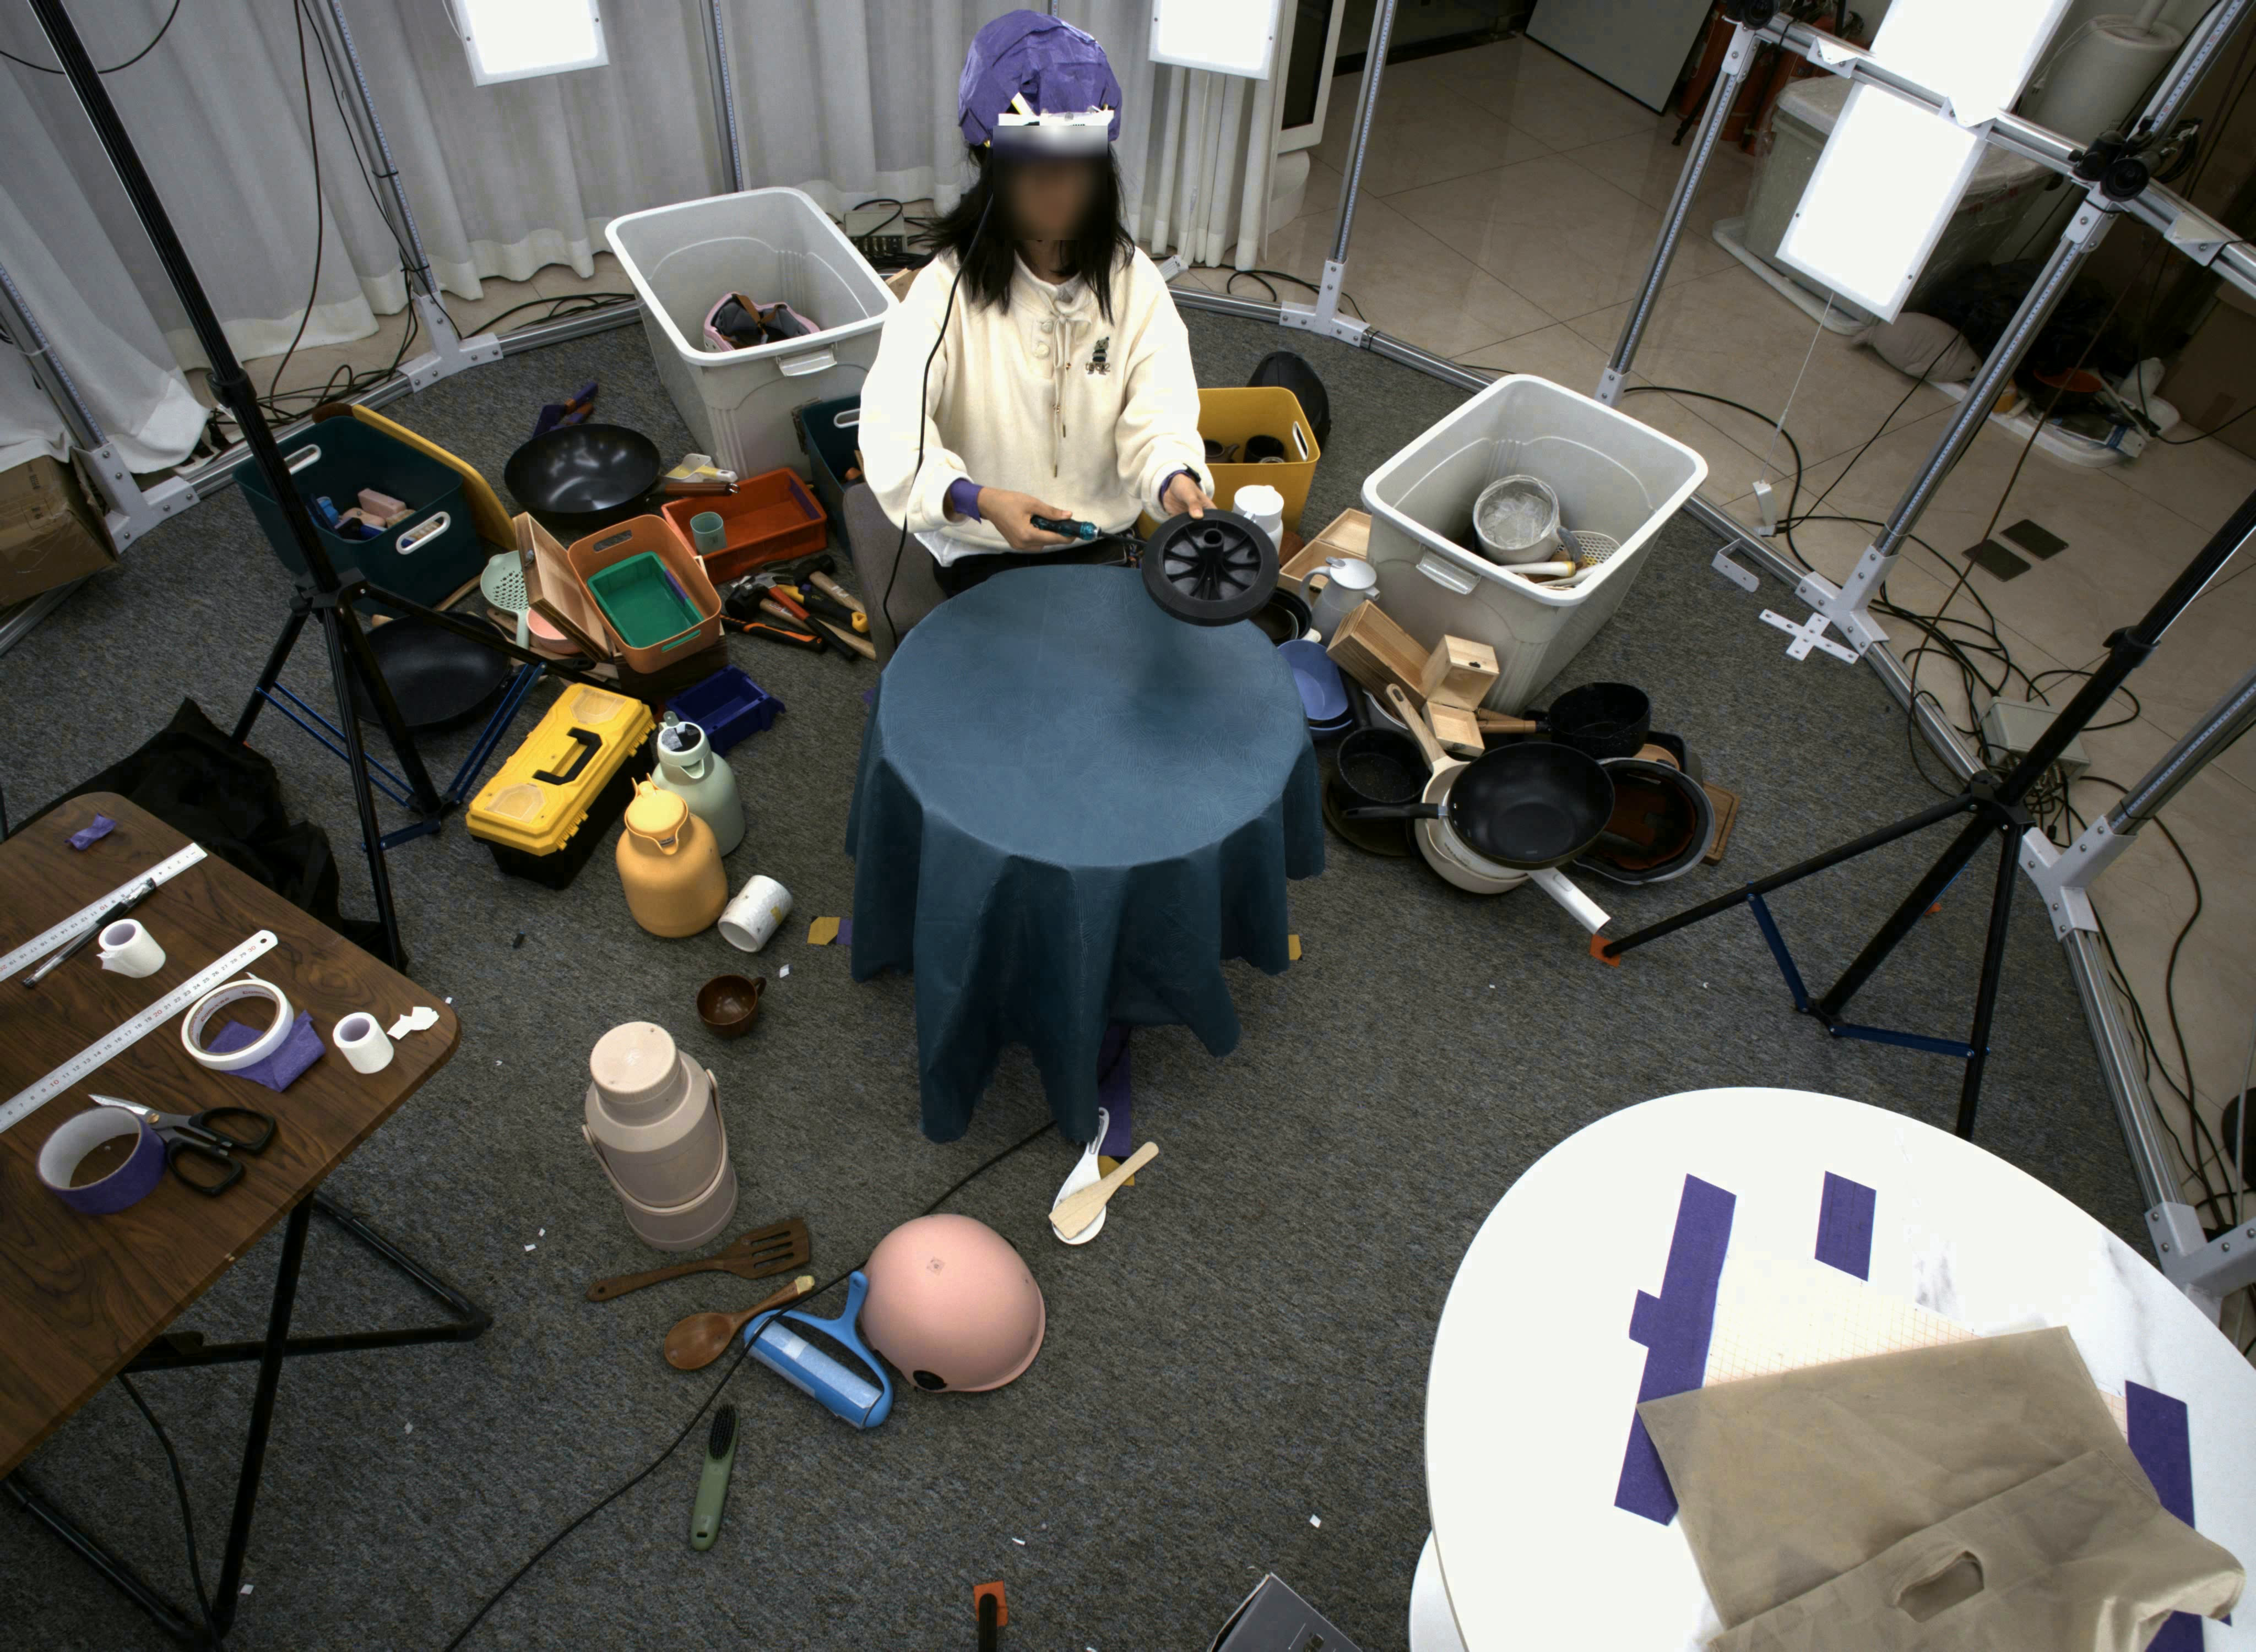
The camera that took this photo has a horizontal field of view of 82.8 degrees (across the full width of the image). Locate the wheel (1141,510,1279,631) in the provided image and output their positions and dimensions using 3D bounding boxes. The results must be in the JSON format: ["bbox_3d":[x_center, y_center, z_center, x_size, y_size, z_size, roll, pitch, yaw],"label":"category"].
[{"bbox_3d":[0.113,-0.361,1.743,0.187,0.077,0.193,-12,65,-6],"label":"wheel"}]

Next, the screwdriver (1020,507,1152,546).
[{"bbox_3d":[-0.057,-0.403,1.758,0.191,0.033,0.034,15,50,14],"label":"screwdriver"}]
